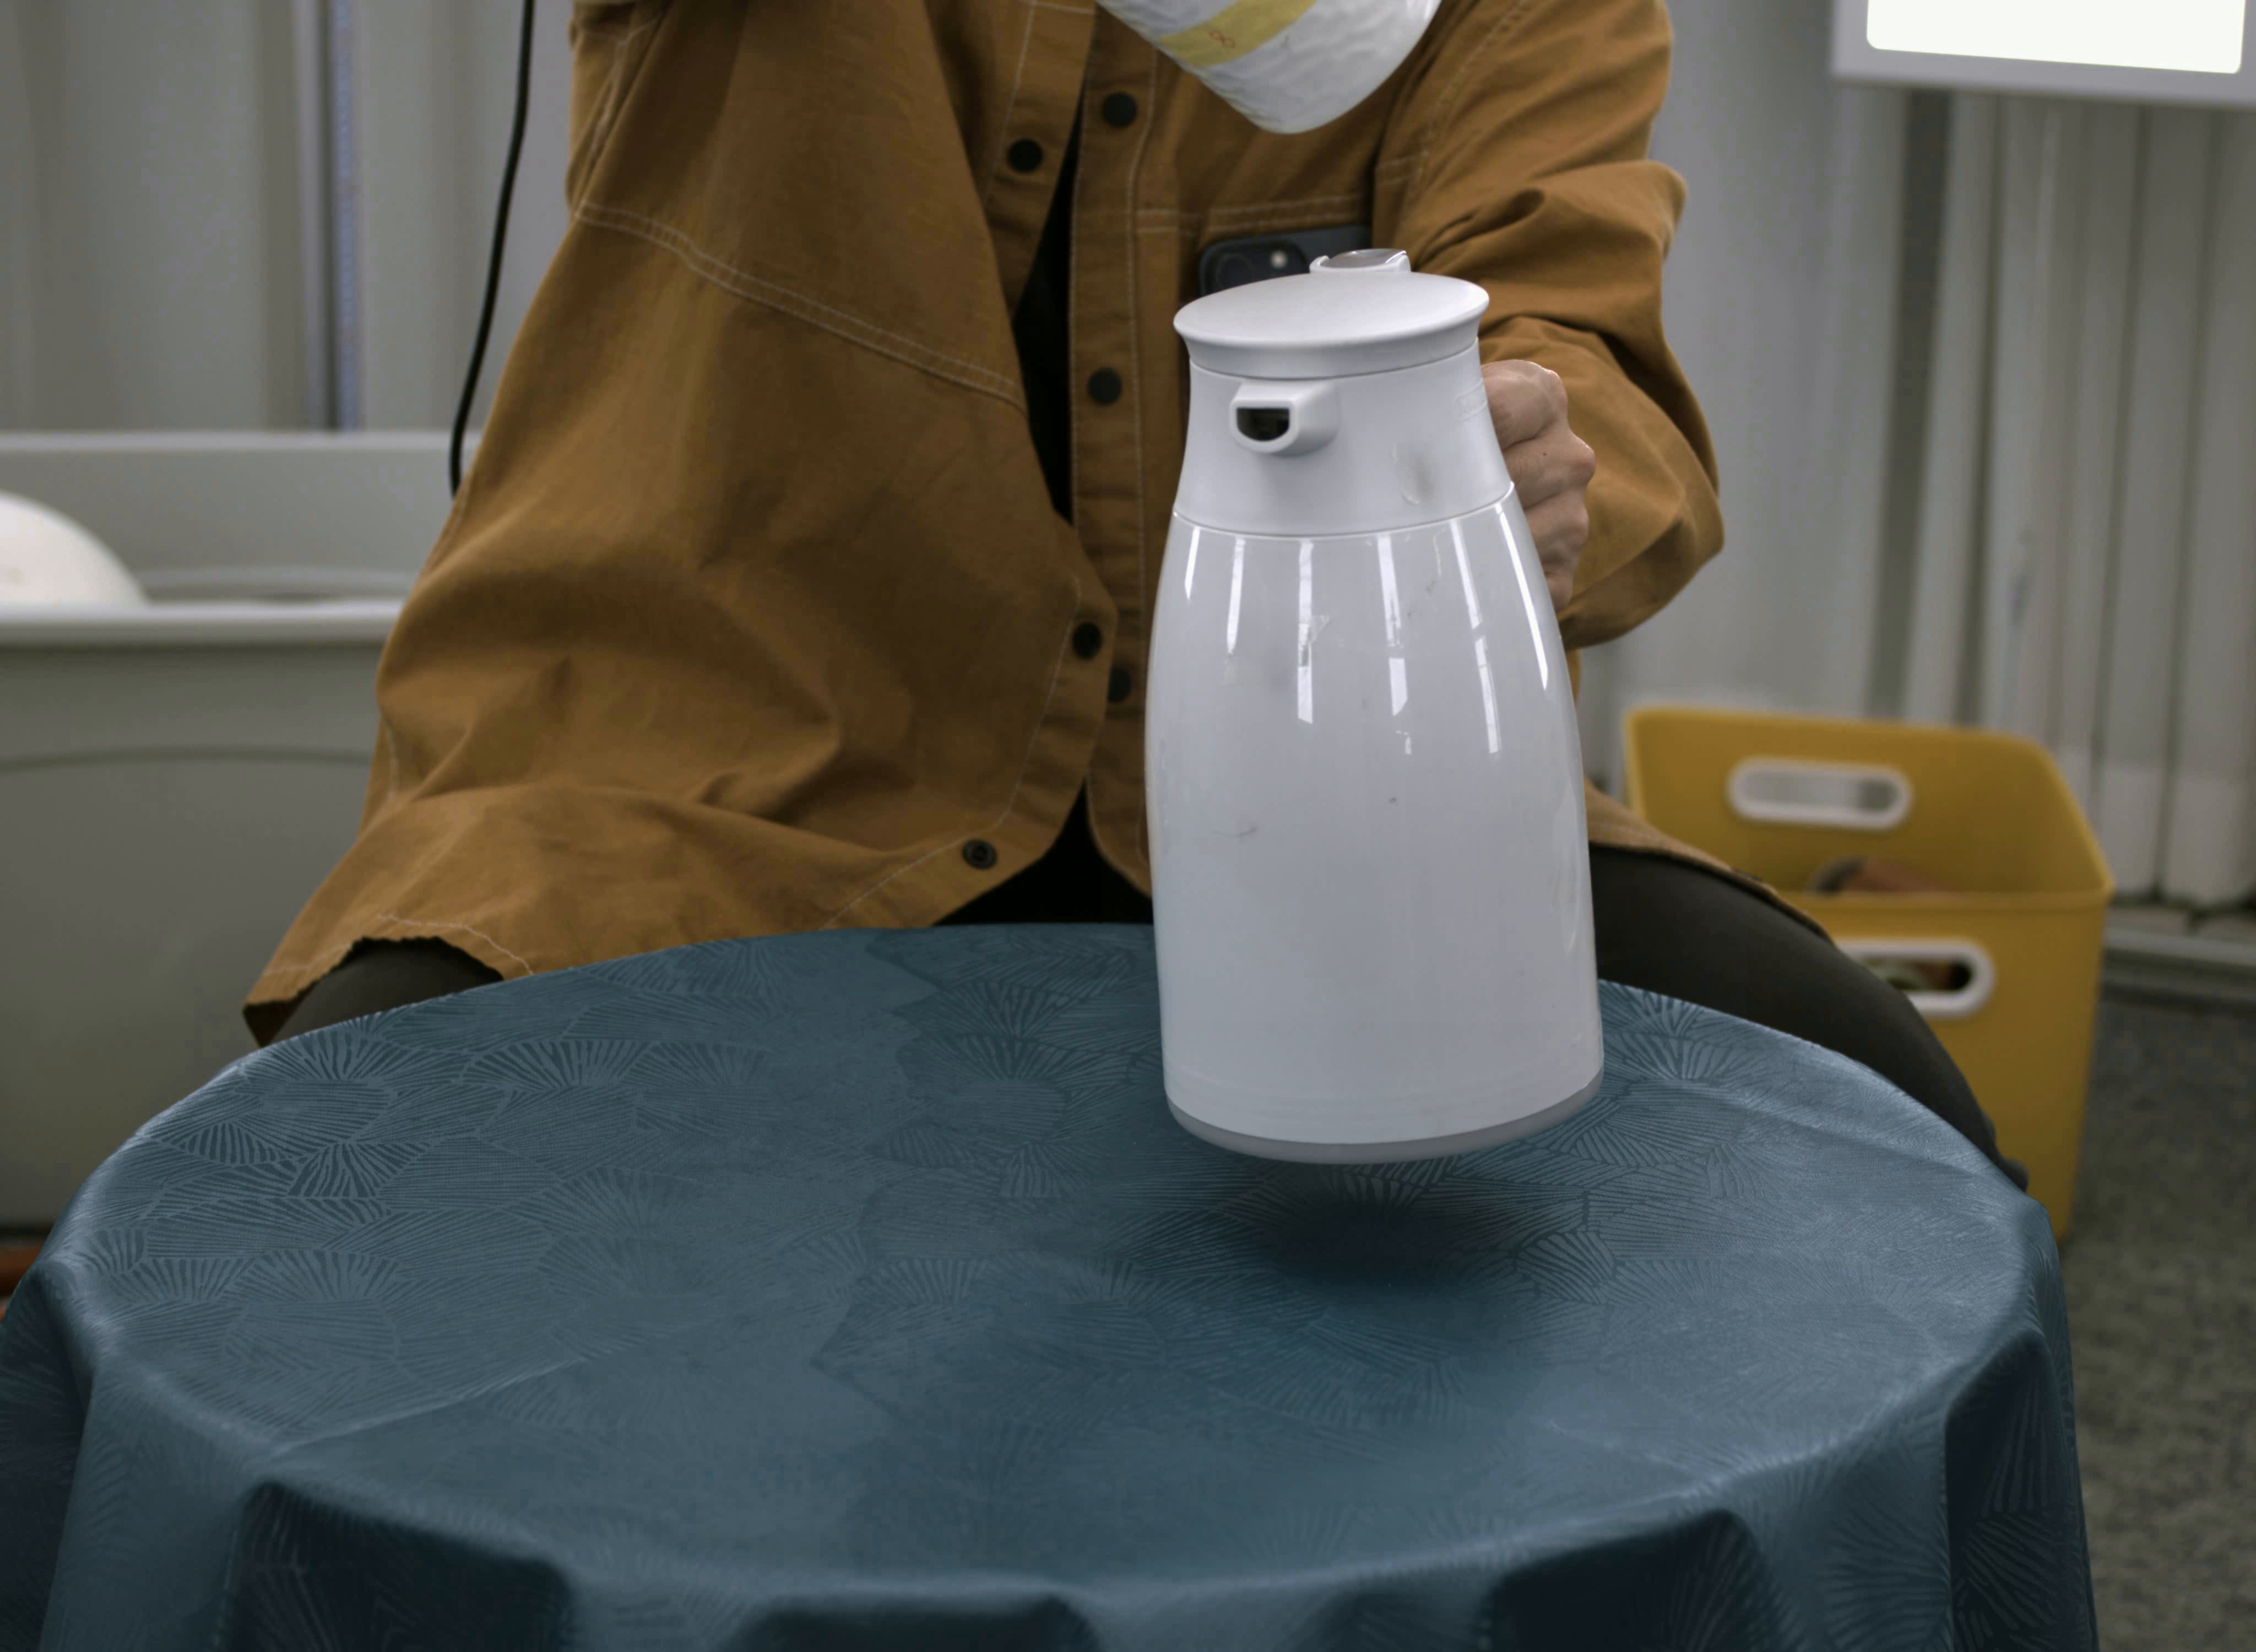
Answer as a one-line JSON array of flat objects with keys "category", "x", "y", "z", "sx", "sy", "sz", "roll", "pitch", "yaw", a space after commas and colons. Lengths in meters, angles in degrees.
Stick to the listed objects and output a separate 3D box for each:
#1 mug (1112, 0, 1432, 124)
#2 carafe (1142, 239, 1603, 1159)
[{"category": "mug", "x": 0.023, "y": -0.266, "z": 1.459, "sx": 0.103, "sy": 0.085, "sz": 0.117, "roll": 33, "pitch": 24, "yaw": -34}, {"category": "carafe", "x": 0.072, "y": -0.046, "z": 1.563, "sx": 0.131, "sy": 0.251, "sz": 0.167, "roll": 1, "pitch": 18, "yaw": 20}]
